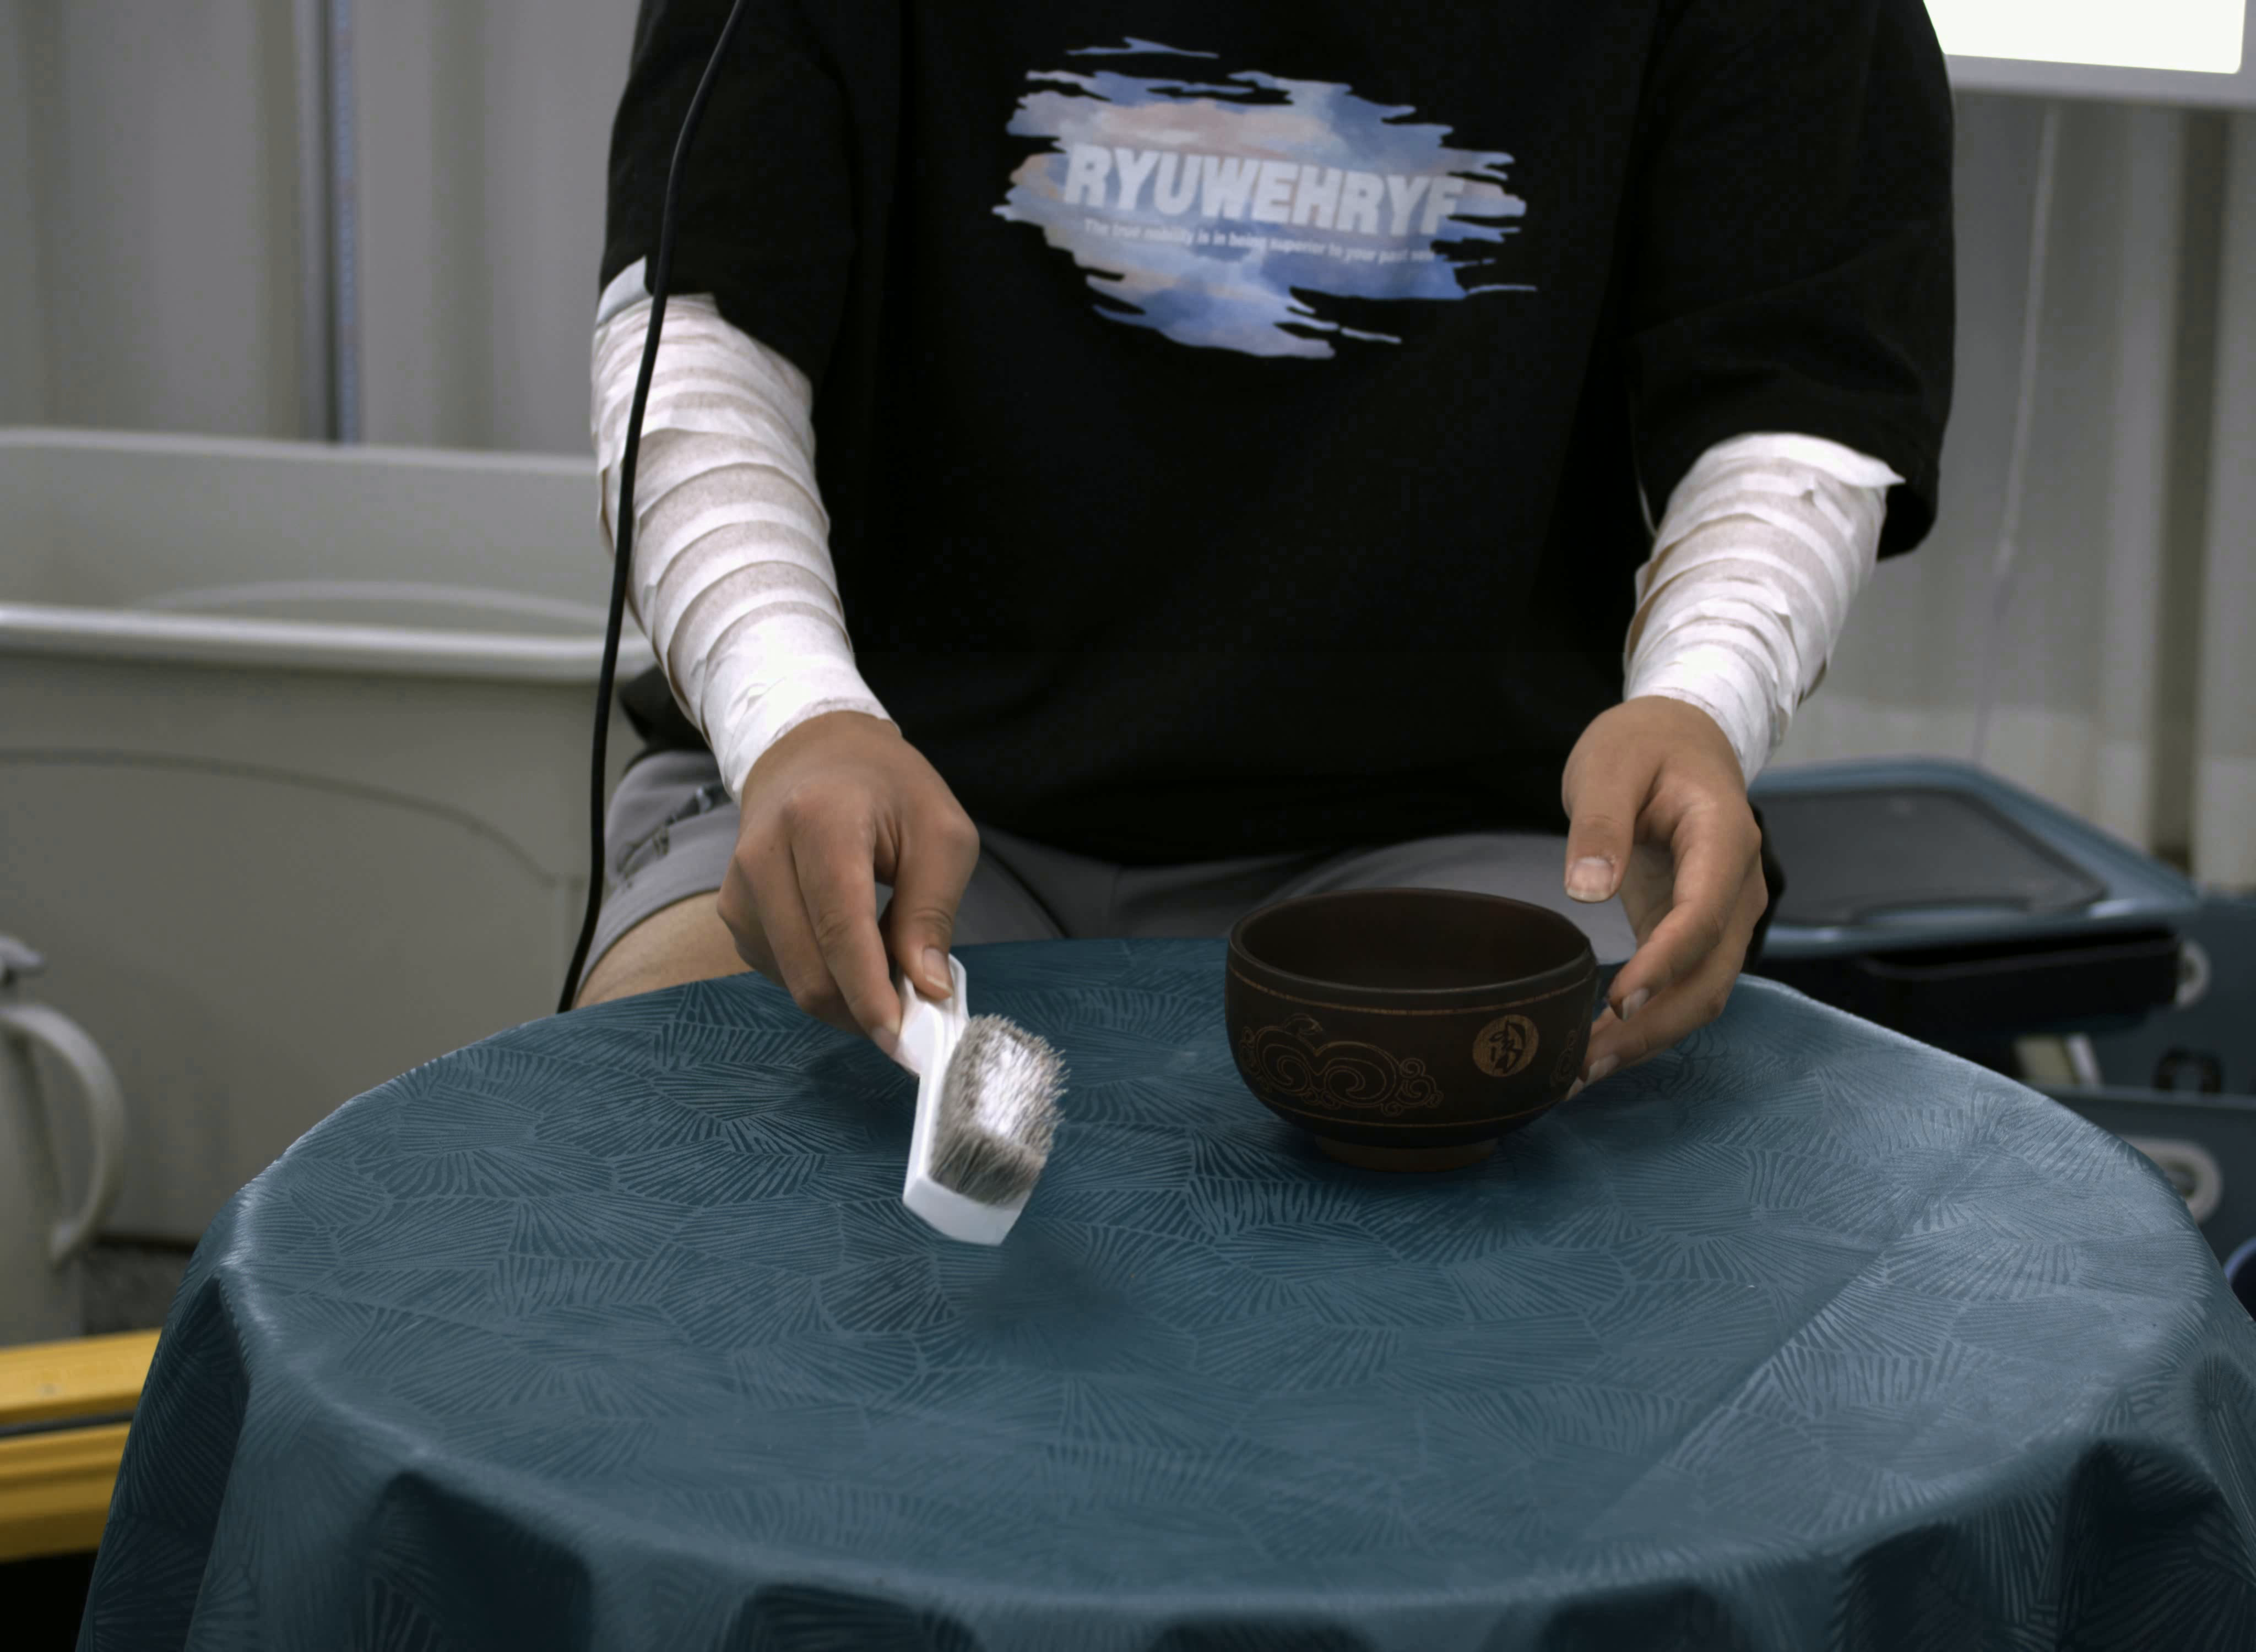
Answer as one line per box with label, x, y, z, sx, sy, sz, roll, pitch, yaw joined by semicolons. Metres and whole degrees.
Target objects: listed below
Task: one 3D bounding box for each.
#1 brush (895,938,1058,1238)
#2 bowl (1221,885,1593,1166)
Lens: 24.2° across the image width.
brush;-0.046;0.061;1.599;0.034;0.050;0.242;26;15;-9
bowl;0.088;0.066;1.658;0.117;0.070;0.117;0;14;1
